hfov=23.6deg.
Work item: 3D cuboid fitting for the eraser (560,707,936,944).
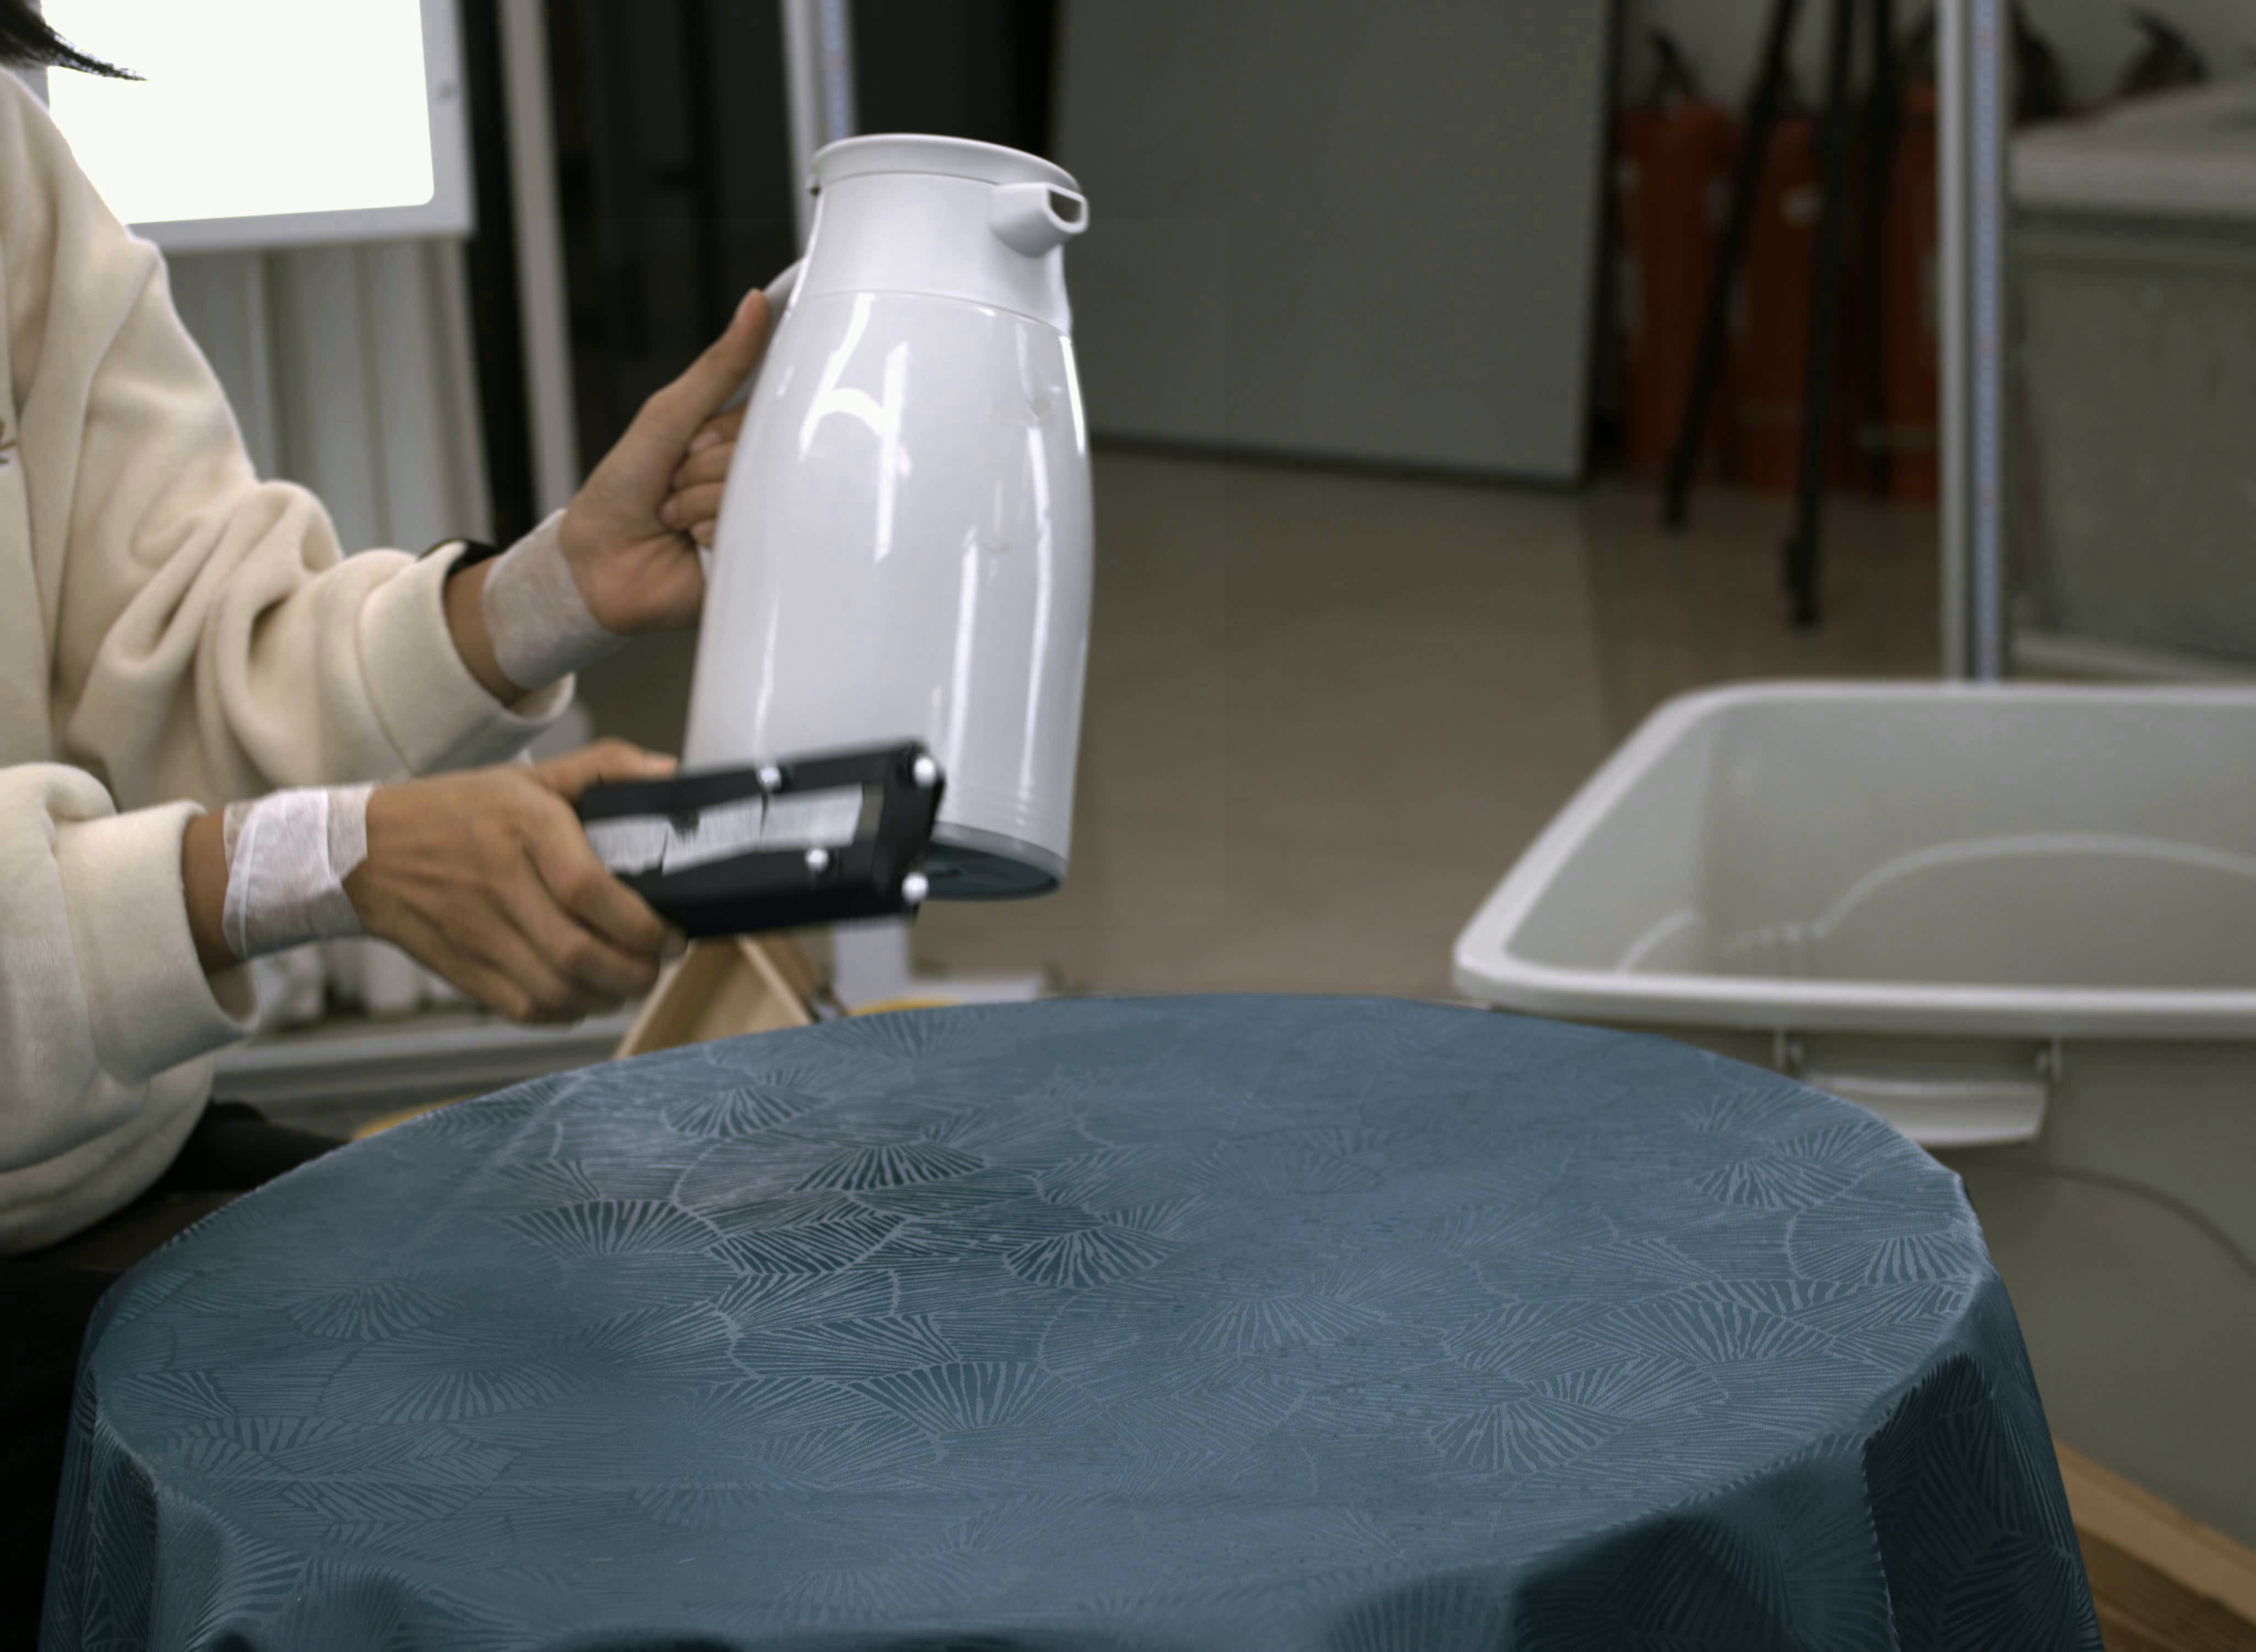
[{"bbox_3d":[-0.119,0.000,1.695,0.126,0.054,0.030,-12,-33,31],"label":"eraser"}]

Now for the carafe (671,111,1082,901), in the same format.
[{"bbox_3d":[-0.091,-0.110,1.826,0.169,0.252,0.130,-7,-17,44],"label":"carafe"}]
